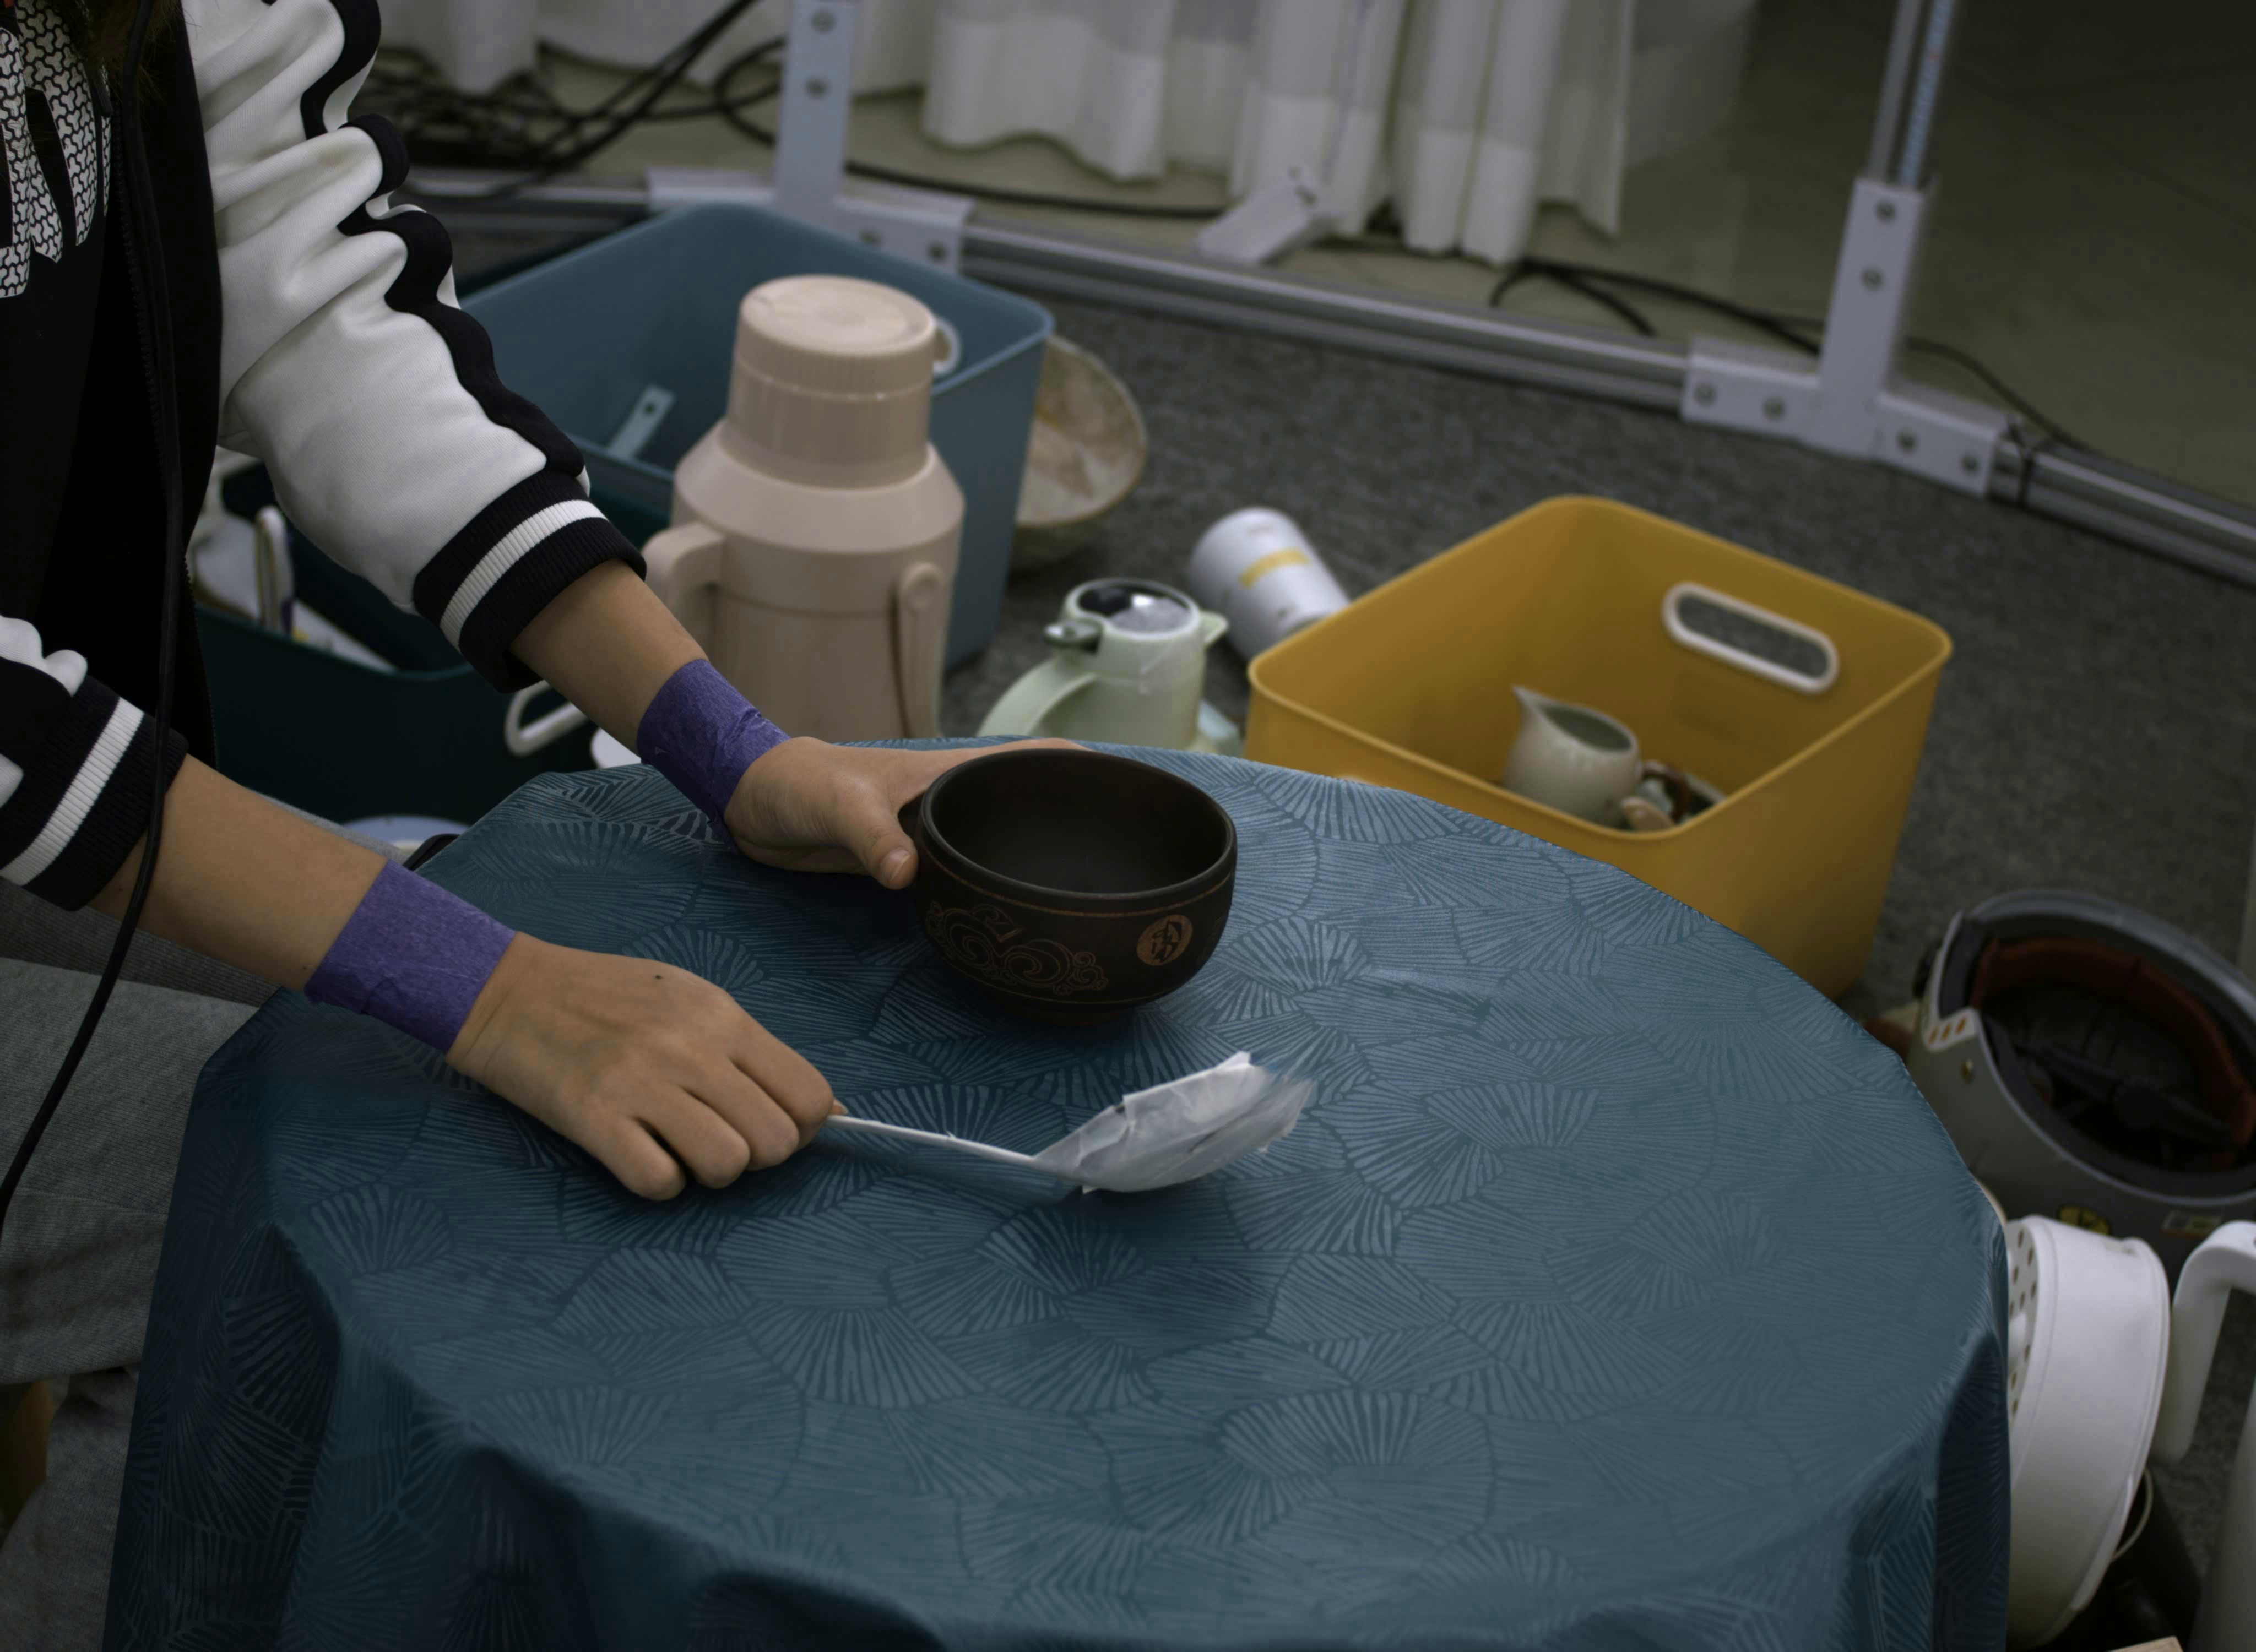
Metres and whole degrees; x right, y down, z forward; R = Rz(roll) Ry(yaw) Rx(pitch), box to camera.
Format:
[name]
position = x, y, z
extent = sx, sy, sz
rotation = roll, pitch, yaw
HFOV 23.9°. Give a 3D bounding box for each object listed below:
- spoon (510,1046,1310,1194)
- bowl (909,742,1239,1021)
[spoon]
position = -0.076, 0.081, 1.810
extent = 0.278, 0.059, 0.100
rotation = 11, -16, 18
[bowl]
position = -0.021, 0.026, 1.907
extent = 0.117, 0.069, 0.119
rotation = 5, 27, -3
